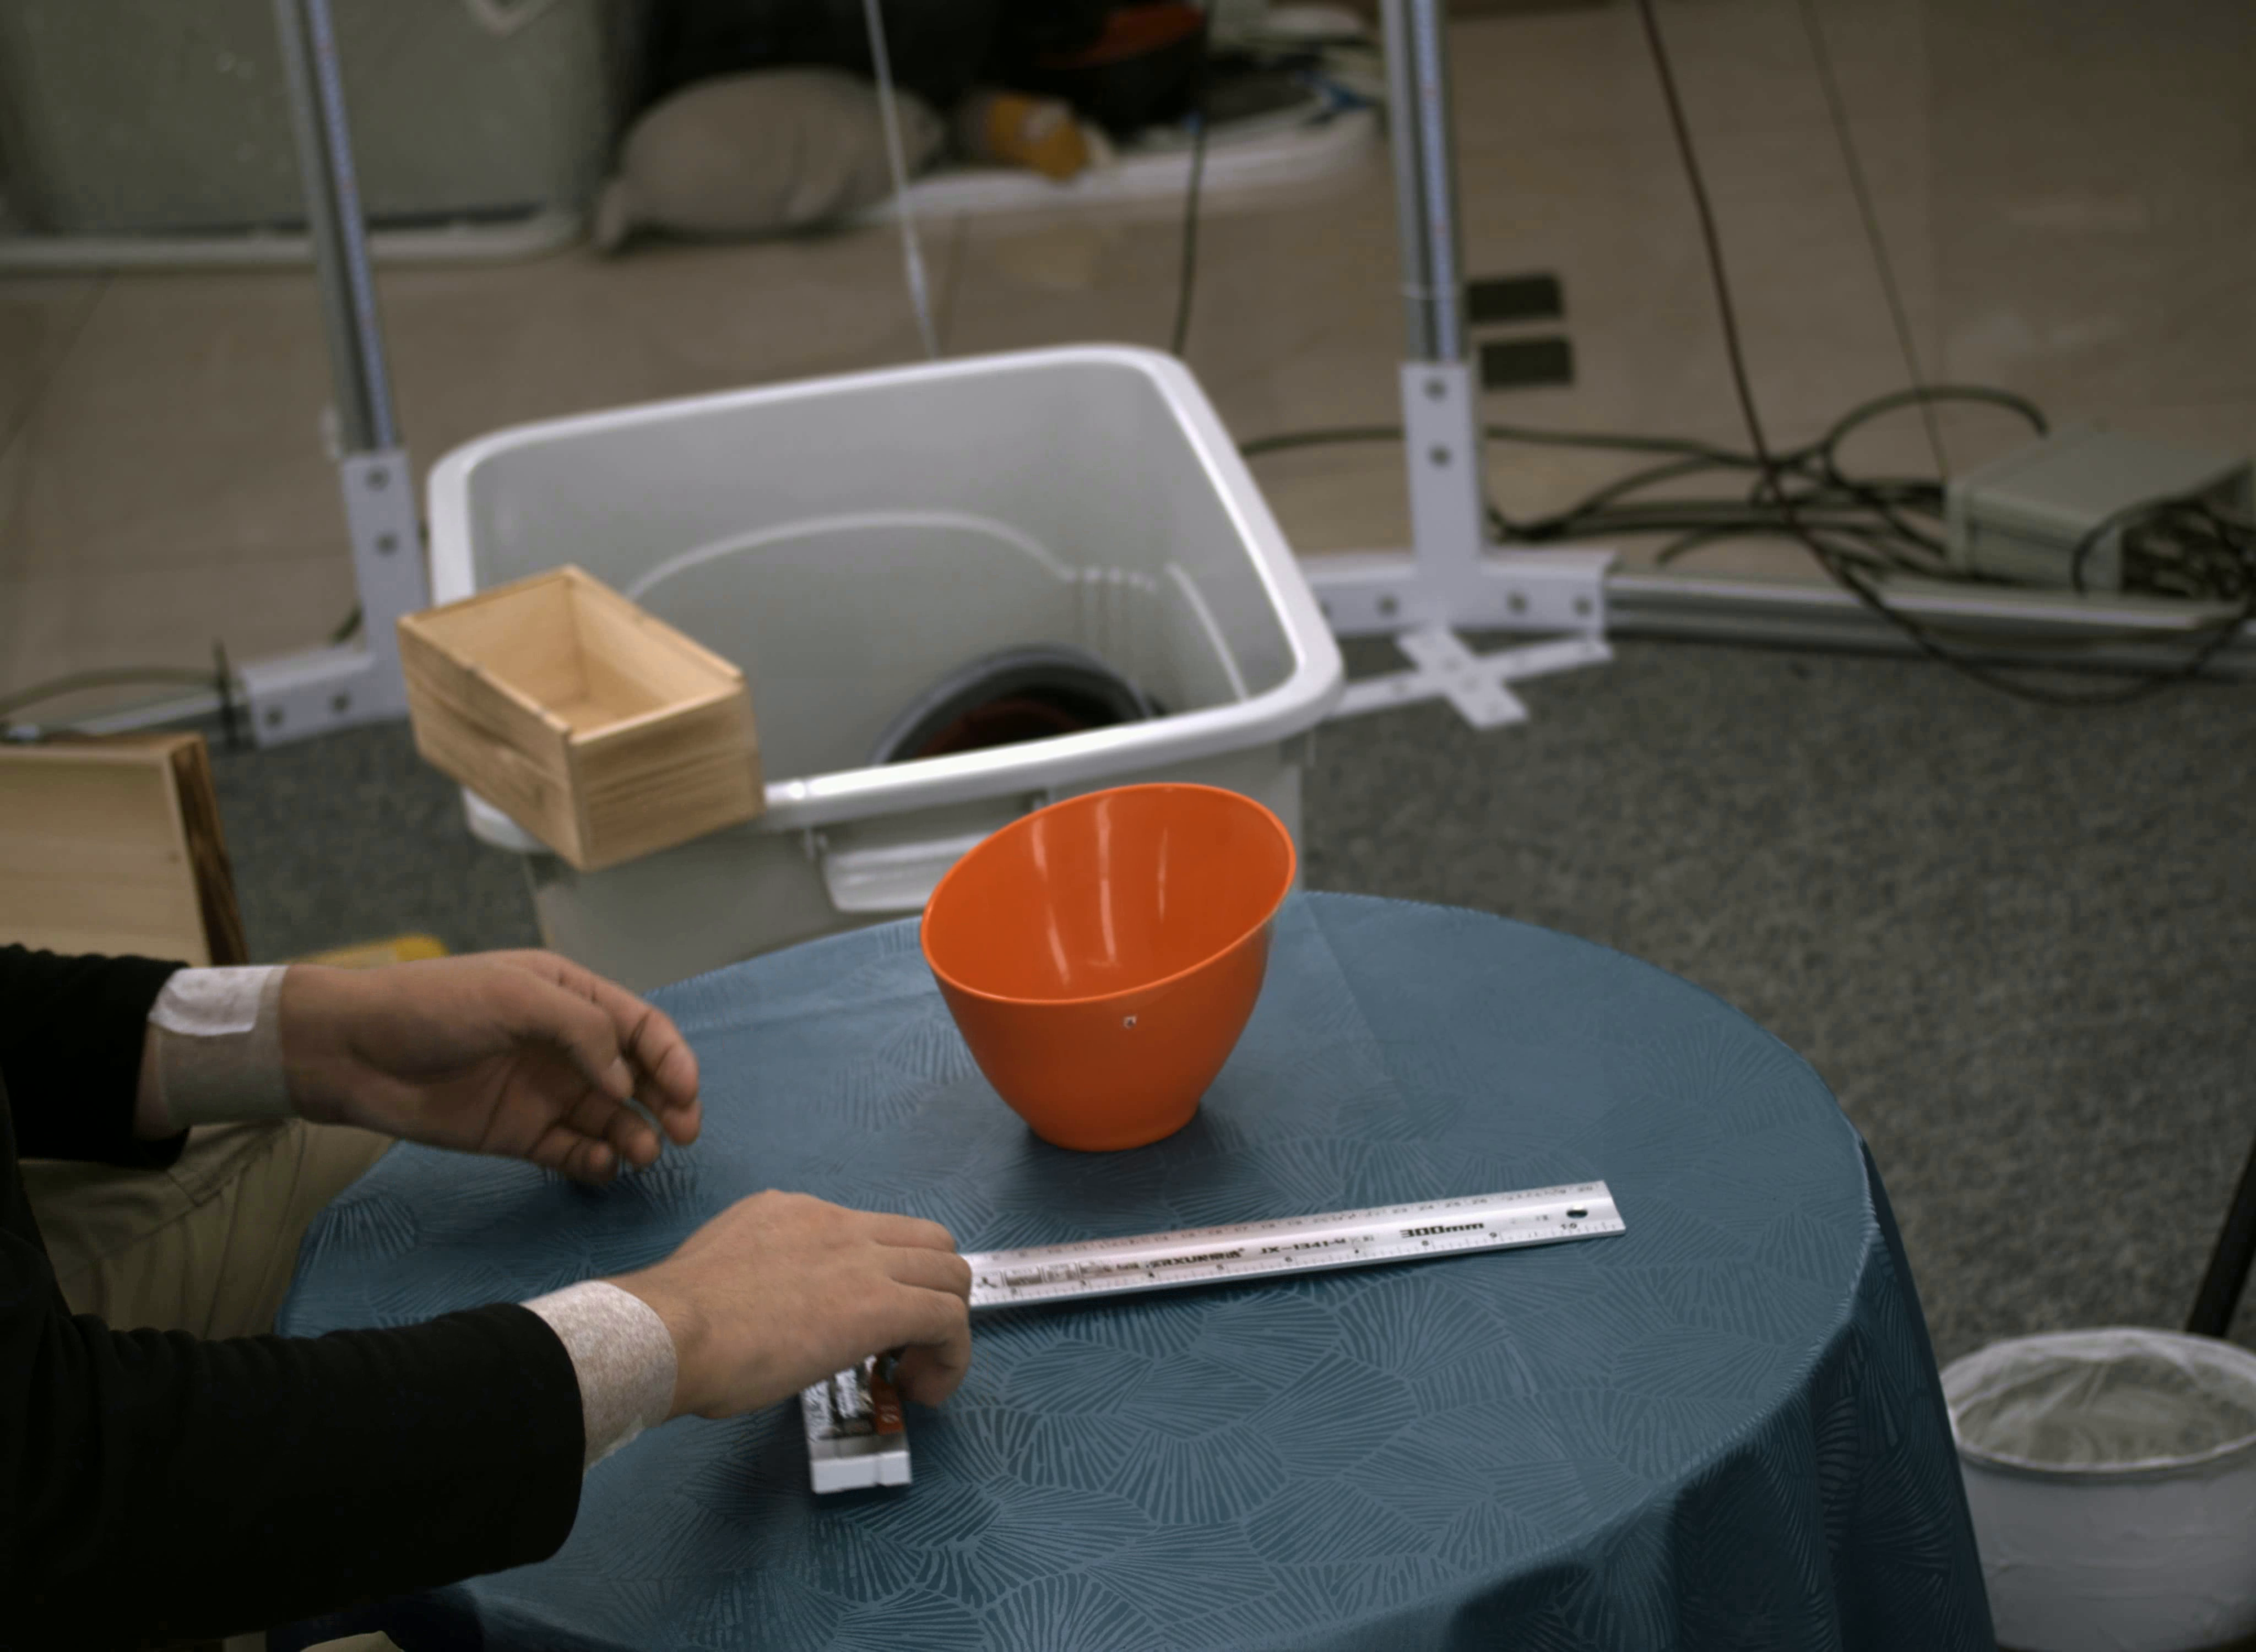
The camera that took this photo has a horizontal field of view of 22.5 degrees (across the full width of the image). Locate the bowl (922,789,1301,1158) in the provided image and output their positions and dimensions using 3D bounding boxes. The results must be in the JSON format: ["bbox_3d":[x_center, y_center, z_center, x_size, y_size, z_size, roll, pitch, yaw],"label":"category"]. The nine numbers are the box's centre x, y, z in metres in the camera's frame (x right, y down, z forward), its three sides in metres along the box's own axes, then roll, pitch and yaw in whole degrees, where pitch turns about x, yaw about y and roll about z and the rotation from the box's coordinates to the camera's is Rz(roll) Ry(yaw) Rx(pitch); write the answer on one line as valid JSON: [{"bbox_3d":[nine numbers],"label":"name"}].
[{"bbox_3d":[-0.002,0.063,2.191,0.148,0.106,0.146,-5,27,3],"label":"bowl"}]

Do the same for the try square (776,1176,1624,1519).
[{"bbox_3d":[0.033,0.183,2.038,0.312,0.016,0.150,-7,28,-6],"label":"try square"}]
